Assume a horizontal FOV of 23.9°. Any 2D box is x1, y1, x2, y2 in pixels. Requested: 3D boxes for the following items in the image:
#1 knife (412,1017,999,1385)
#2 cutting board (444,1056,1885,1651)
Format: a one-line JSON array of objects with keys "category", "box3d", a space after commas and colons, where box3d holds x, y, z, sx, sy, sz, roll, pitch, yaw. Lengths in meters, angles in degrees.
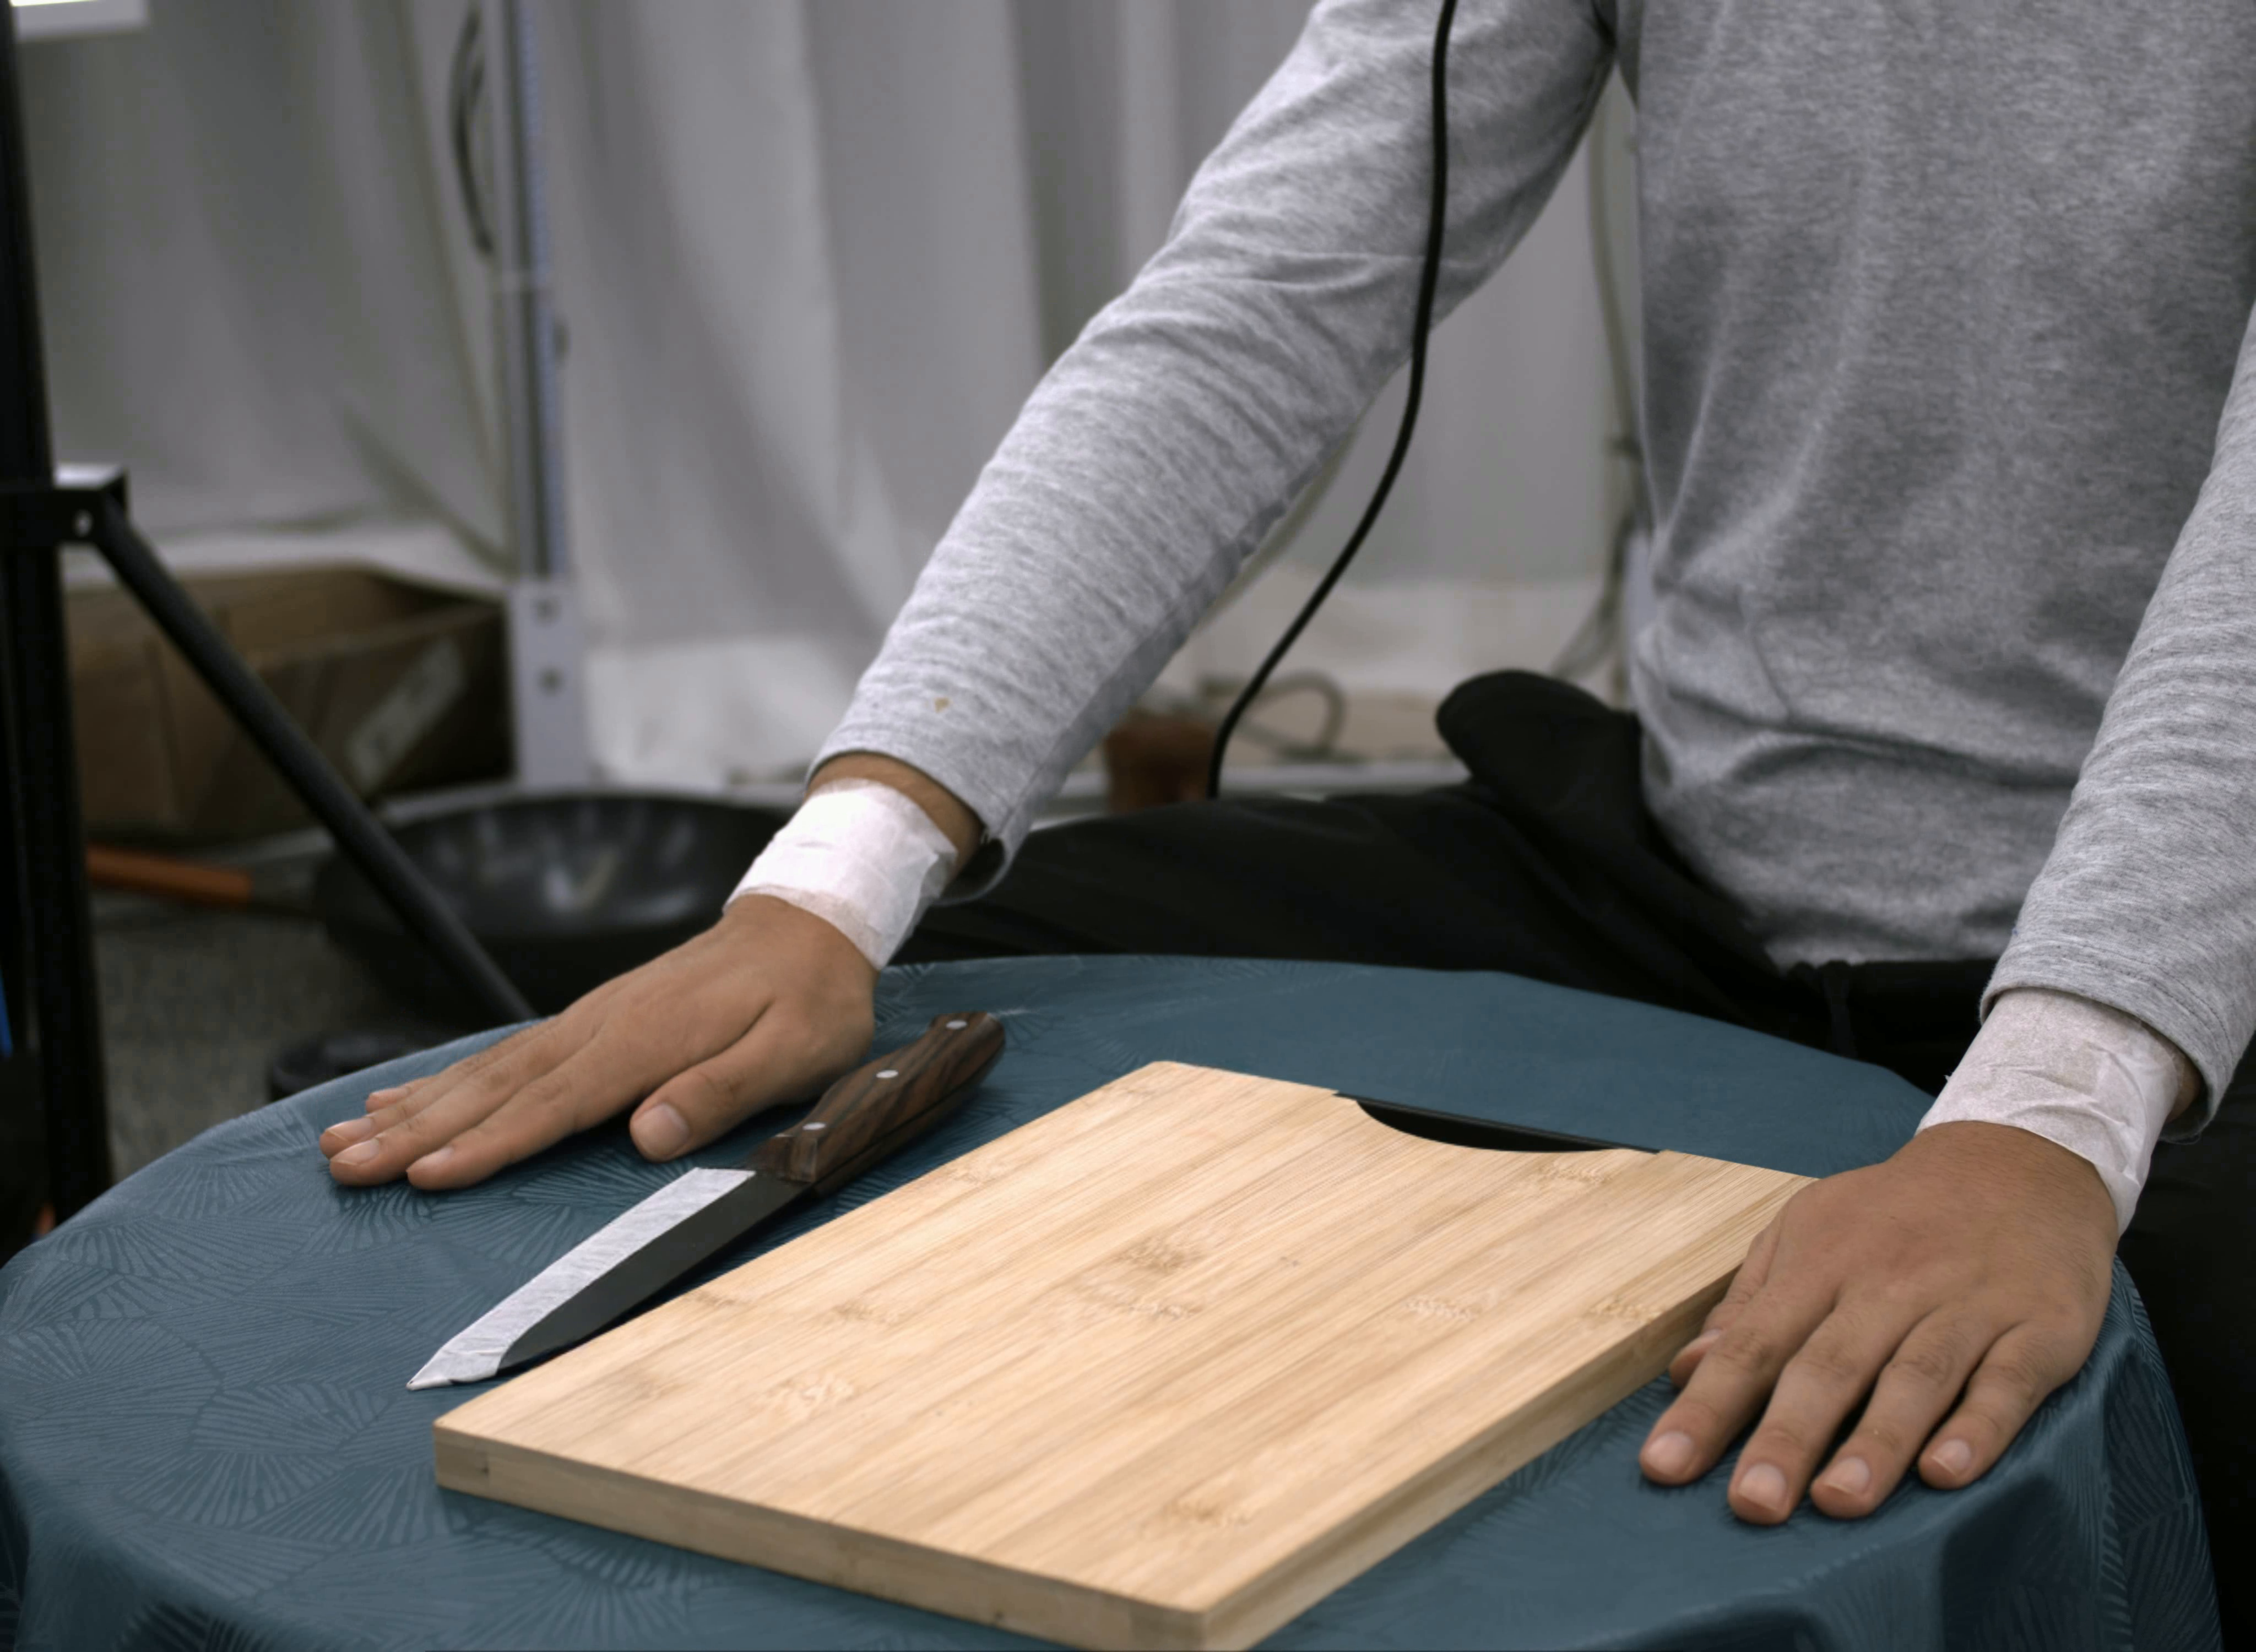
[{"category": "knife", "box3d": [-0.117, 0.109, 1.549, 0.051, 0.020, 0.284, 2, 18, 31]}, {"category": "cutting board", "box3d": [0.017, 0.136, 1.433, 0.256, 0.023, 0.342, 9, 19, 34]}]
